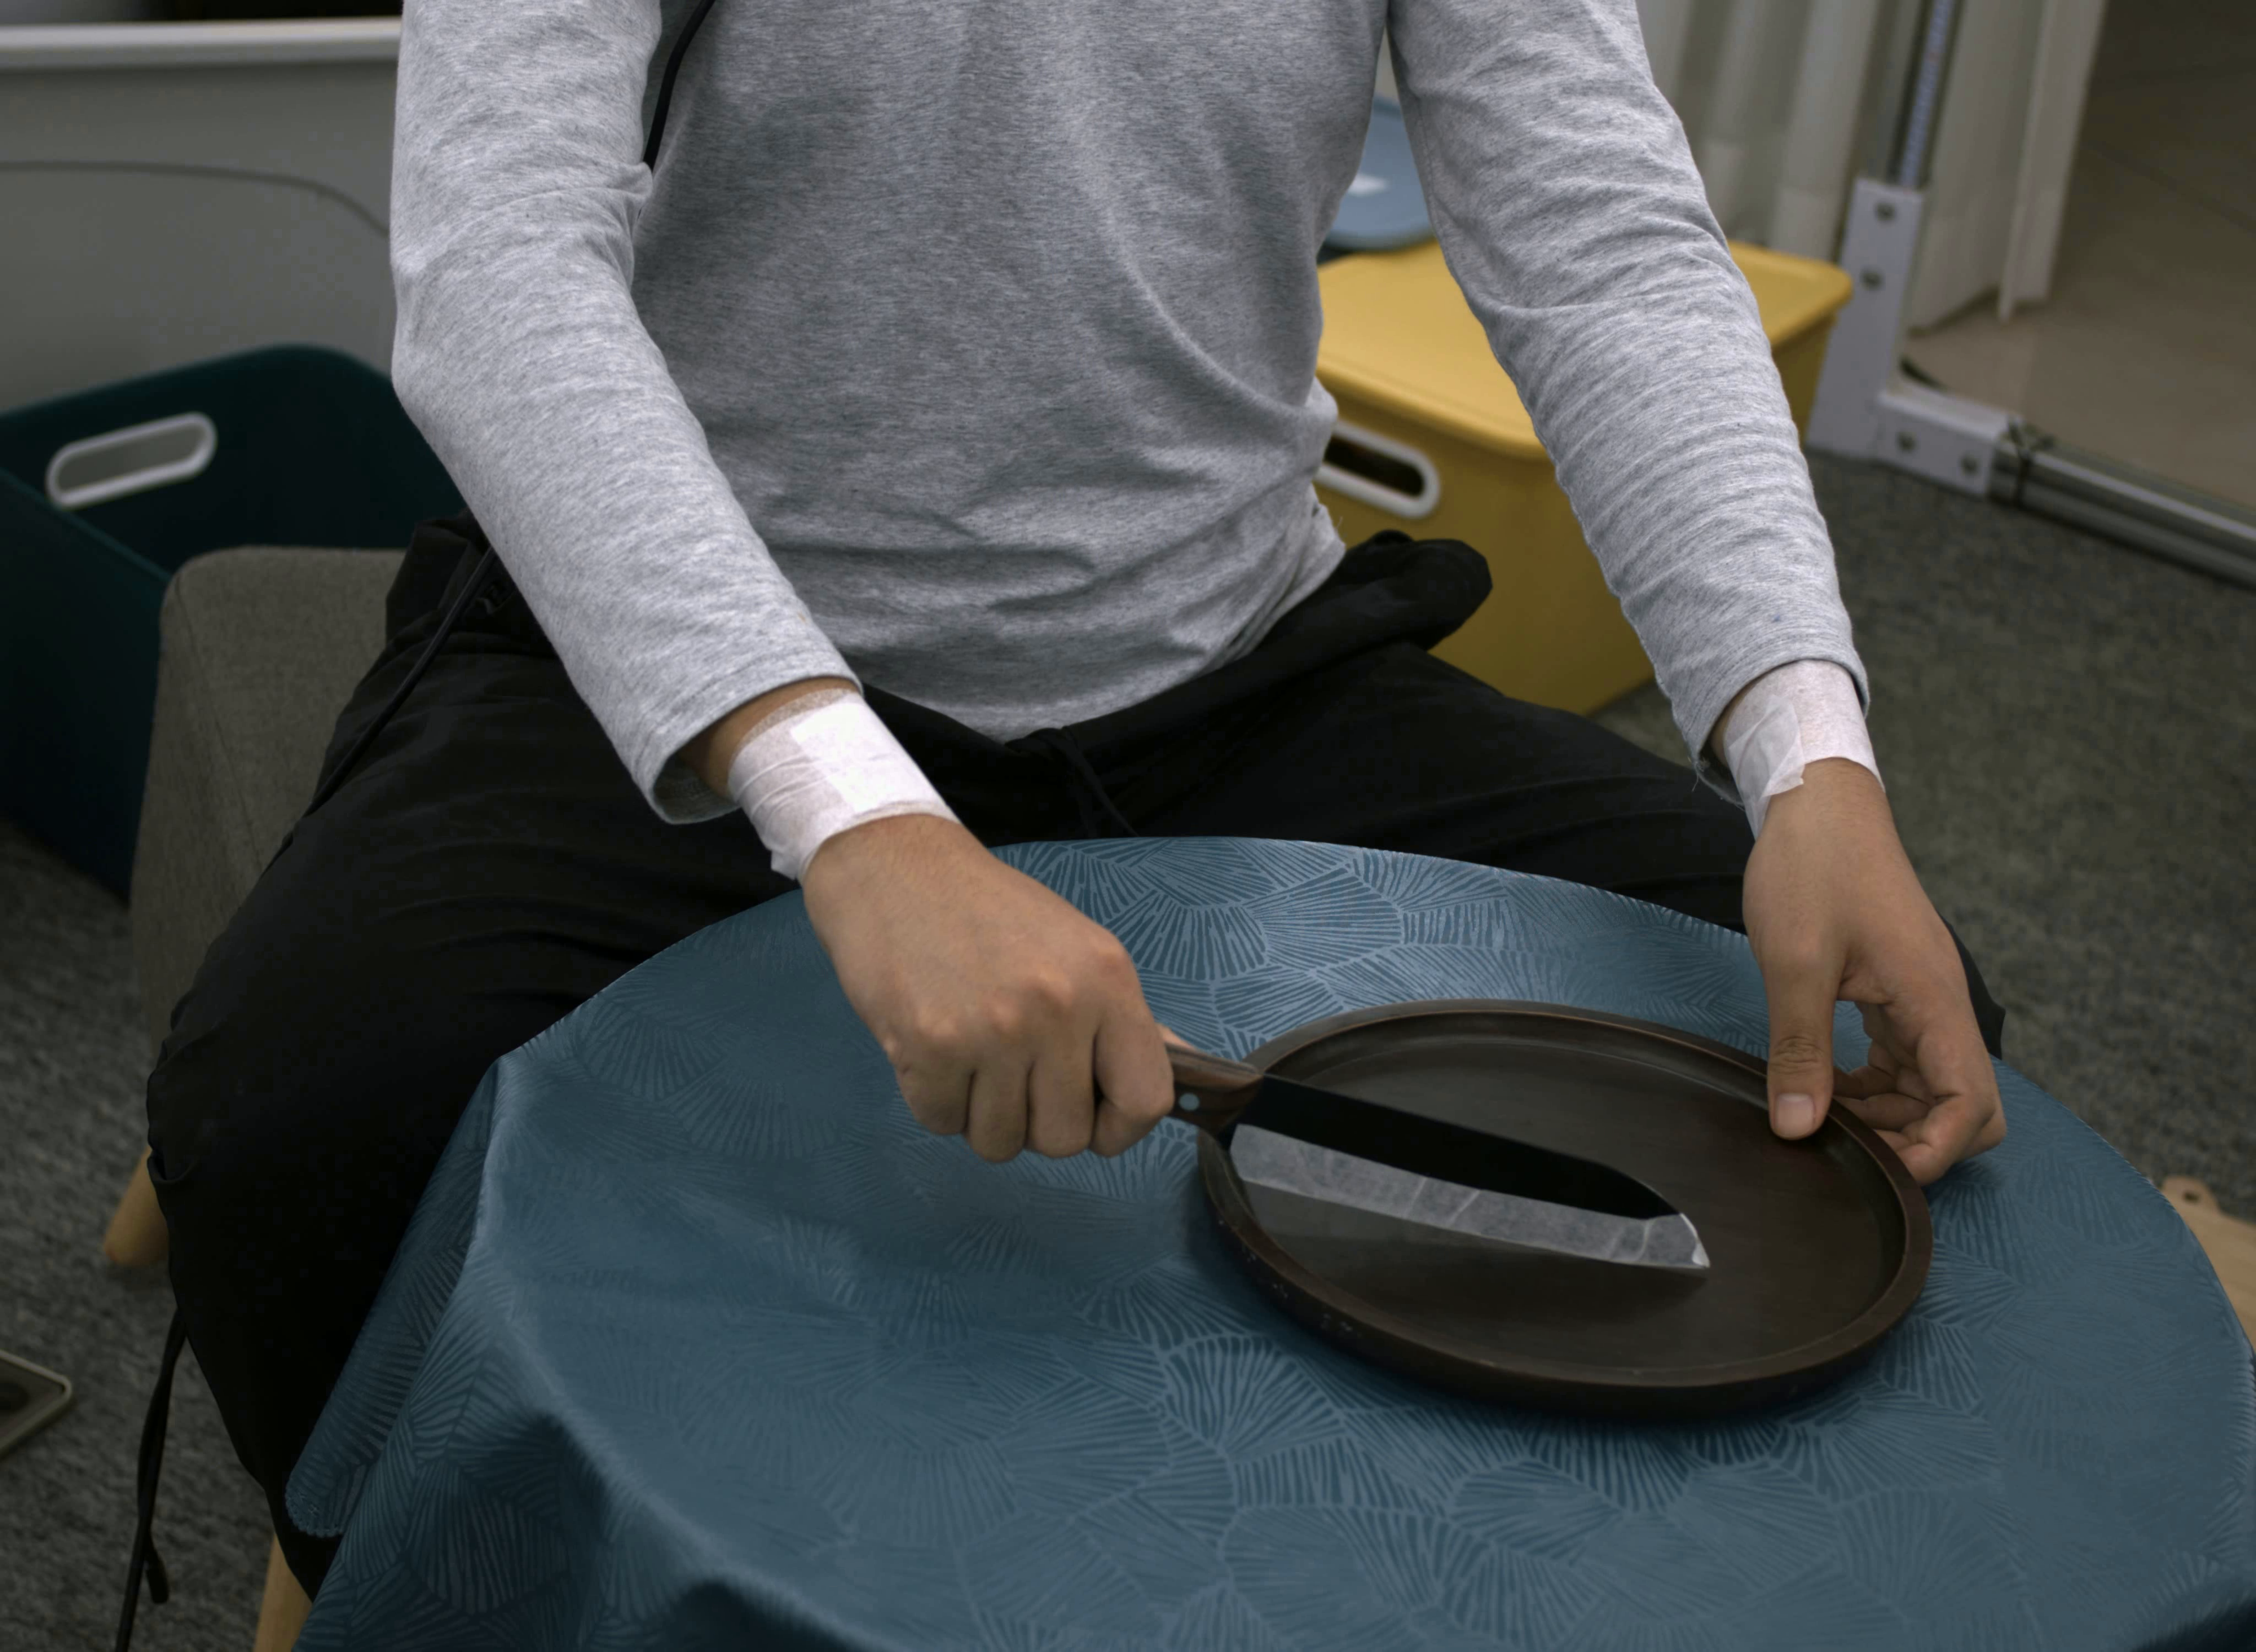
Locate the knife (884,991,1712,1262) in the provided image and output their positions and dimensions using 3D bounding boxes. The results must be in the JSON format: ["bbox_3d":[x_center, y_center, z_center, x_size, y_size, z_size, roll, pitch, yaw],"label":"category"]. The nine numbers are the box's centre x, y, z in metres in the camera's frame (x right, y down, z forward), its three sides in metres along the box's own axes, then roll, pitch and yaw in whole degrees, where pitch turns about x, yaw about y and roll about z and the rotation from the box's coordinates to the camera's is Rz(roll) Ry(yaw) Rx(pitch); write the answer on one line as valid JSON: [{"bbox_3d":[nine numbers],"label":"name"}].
[{"bbox_3d":[0.057,0.101,1.758,0.288,0.050,0.020,16,35,-3],"label":"knife"}]

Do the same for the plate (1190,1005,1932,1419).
[{"bbox_3d":[0.146,0.128,1.803,0.254,0.029,0.256,3,26,-2],"label":"plate"}]
